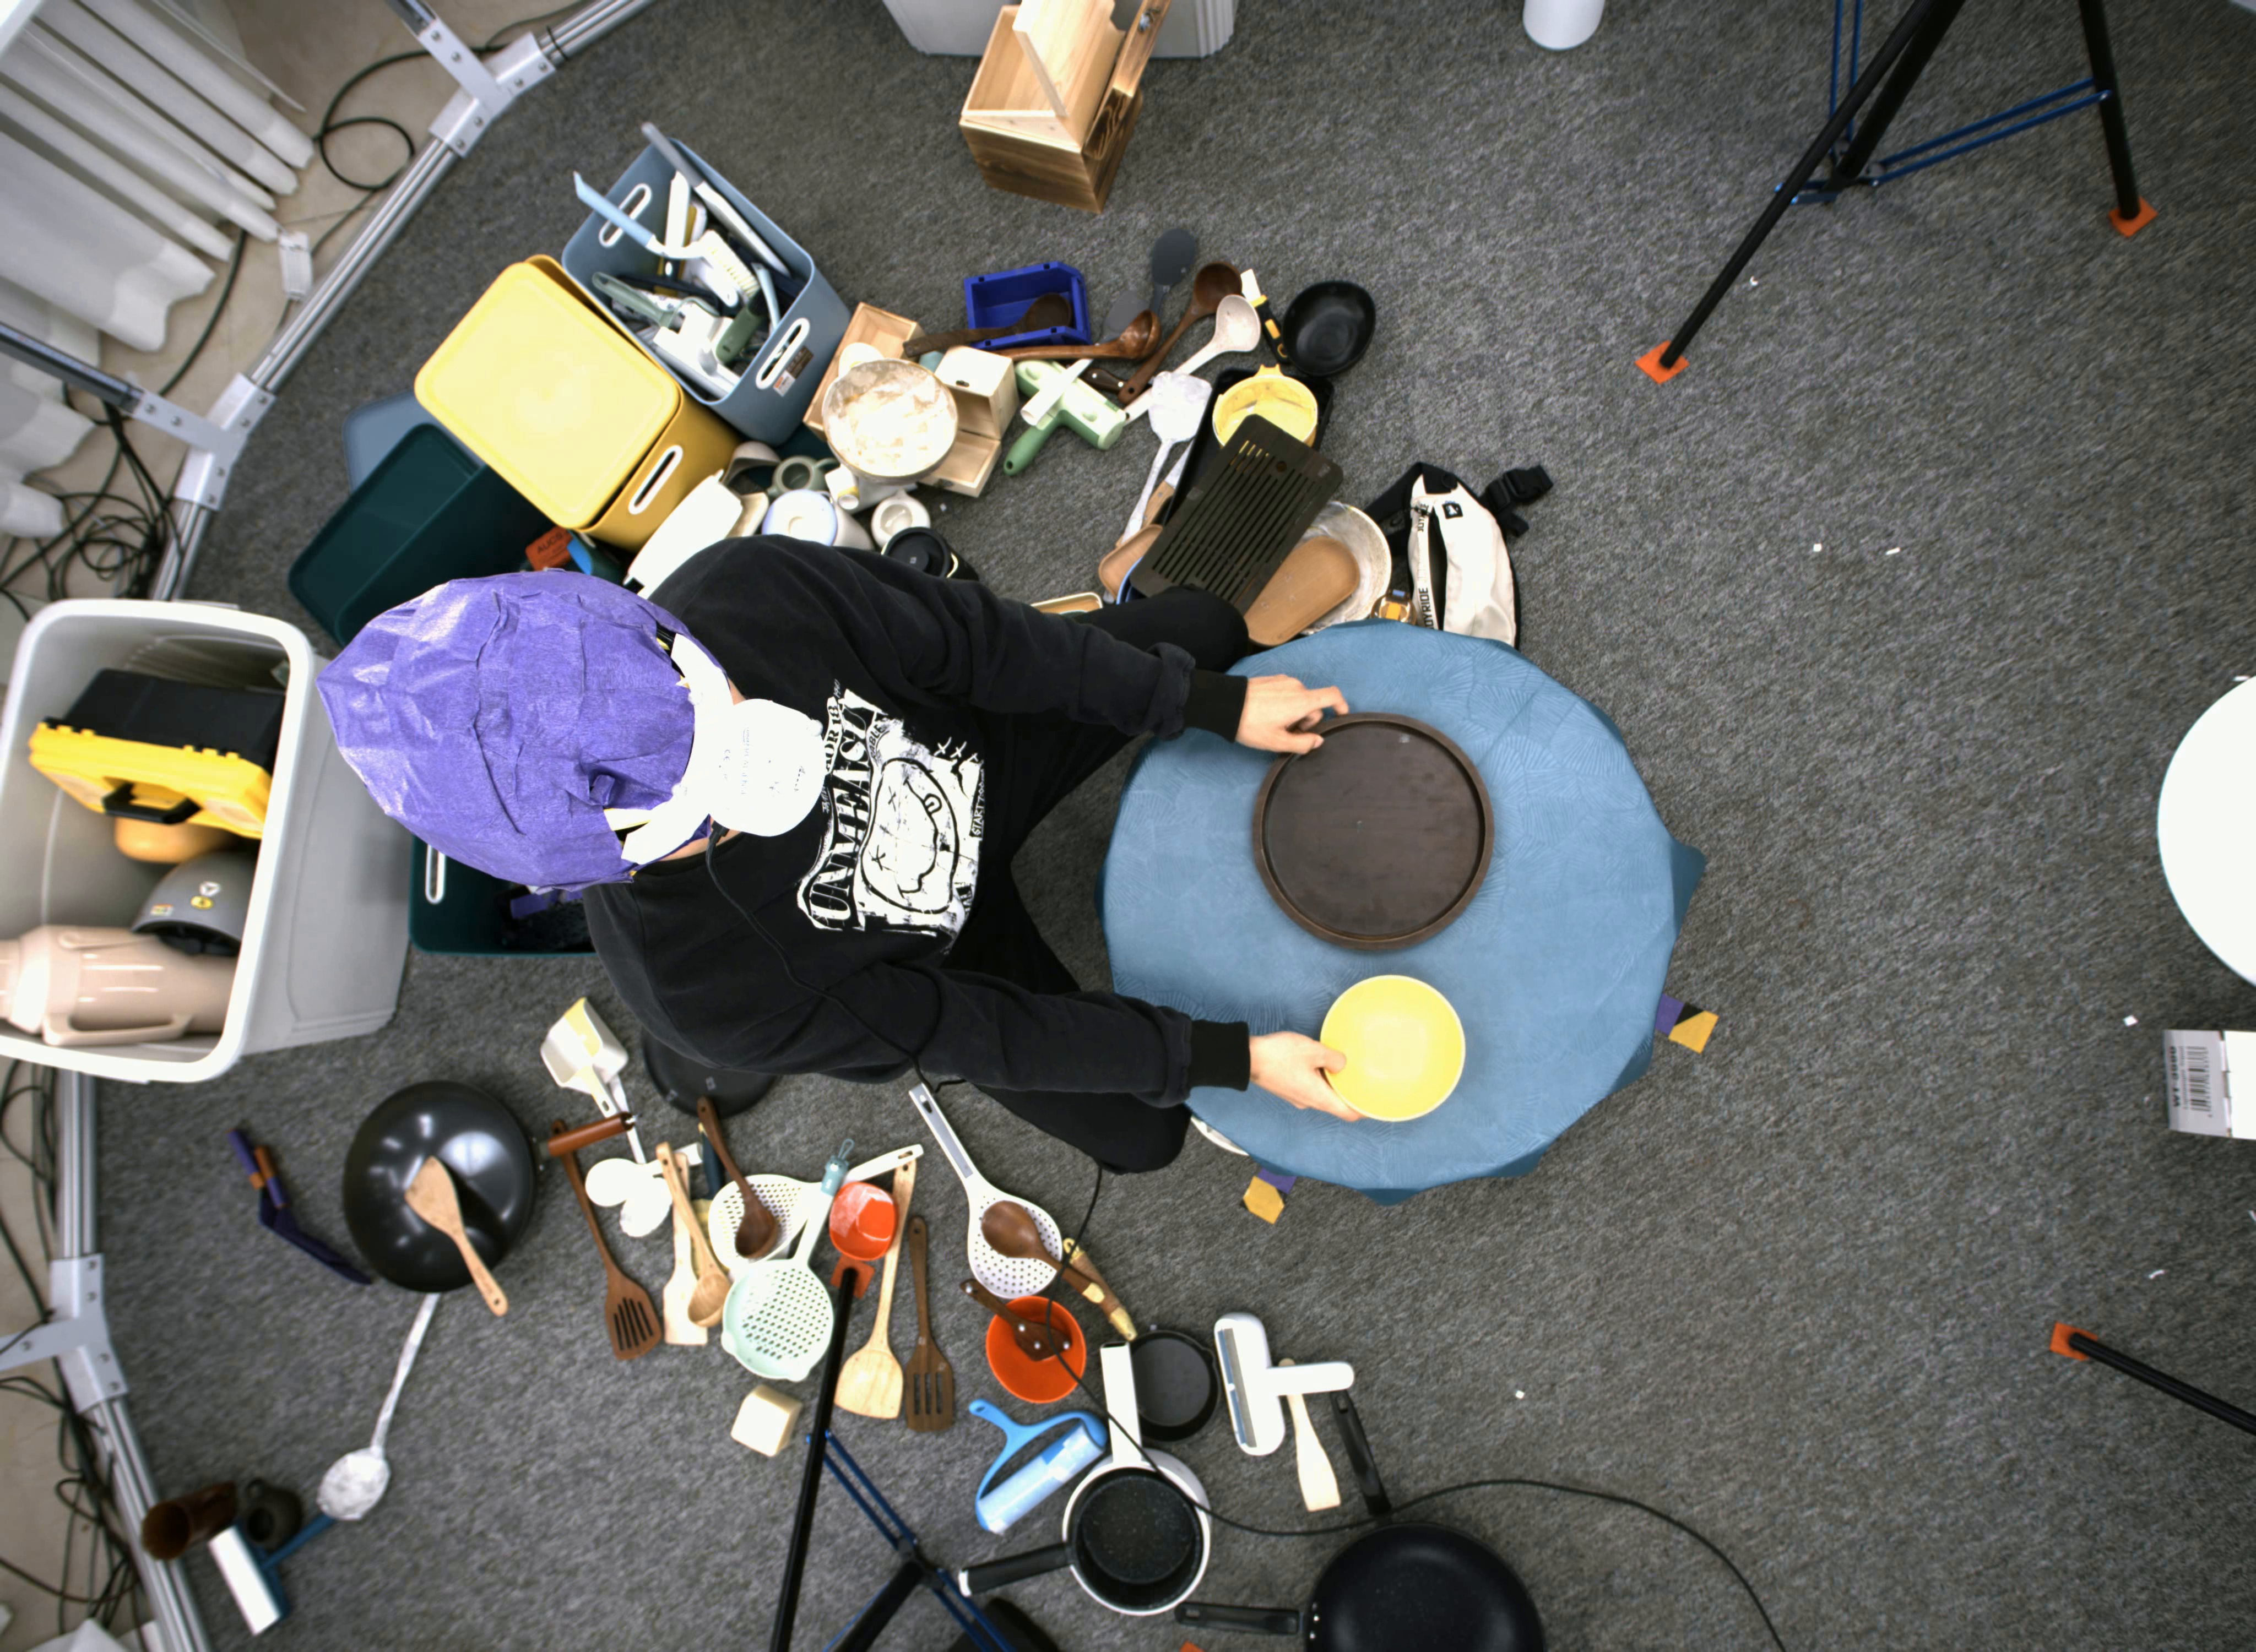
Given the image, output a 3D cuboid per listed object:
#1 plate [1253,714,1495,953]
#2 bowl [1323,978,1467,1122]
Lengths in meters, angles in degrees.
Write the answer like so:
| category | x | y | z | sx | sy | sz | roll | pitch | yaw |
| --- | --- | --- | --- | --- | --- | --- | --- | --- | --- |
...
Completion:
| category | x | y | z | sx | sy | sz | roll | pitch | yaw |
| --- | --- | --- | --- | --- | --- | --- | --- | --- | --- |
| plate | 0.259 | 0.007 | 1.459 | 0.256 | 0.029 | 0.254 | -1 | 88 | 11 |
| bowl | 0.276 | 0.229 | 1.423 | 0.146 | 0.060 | 0.144 | -2 | 83 | 15 |
